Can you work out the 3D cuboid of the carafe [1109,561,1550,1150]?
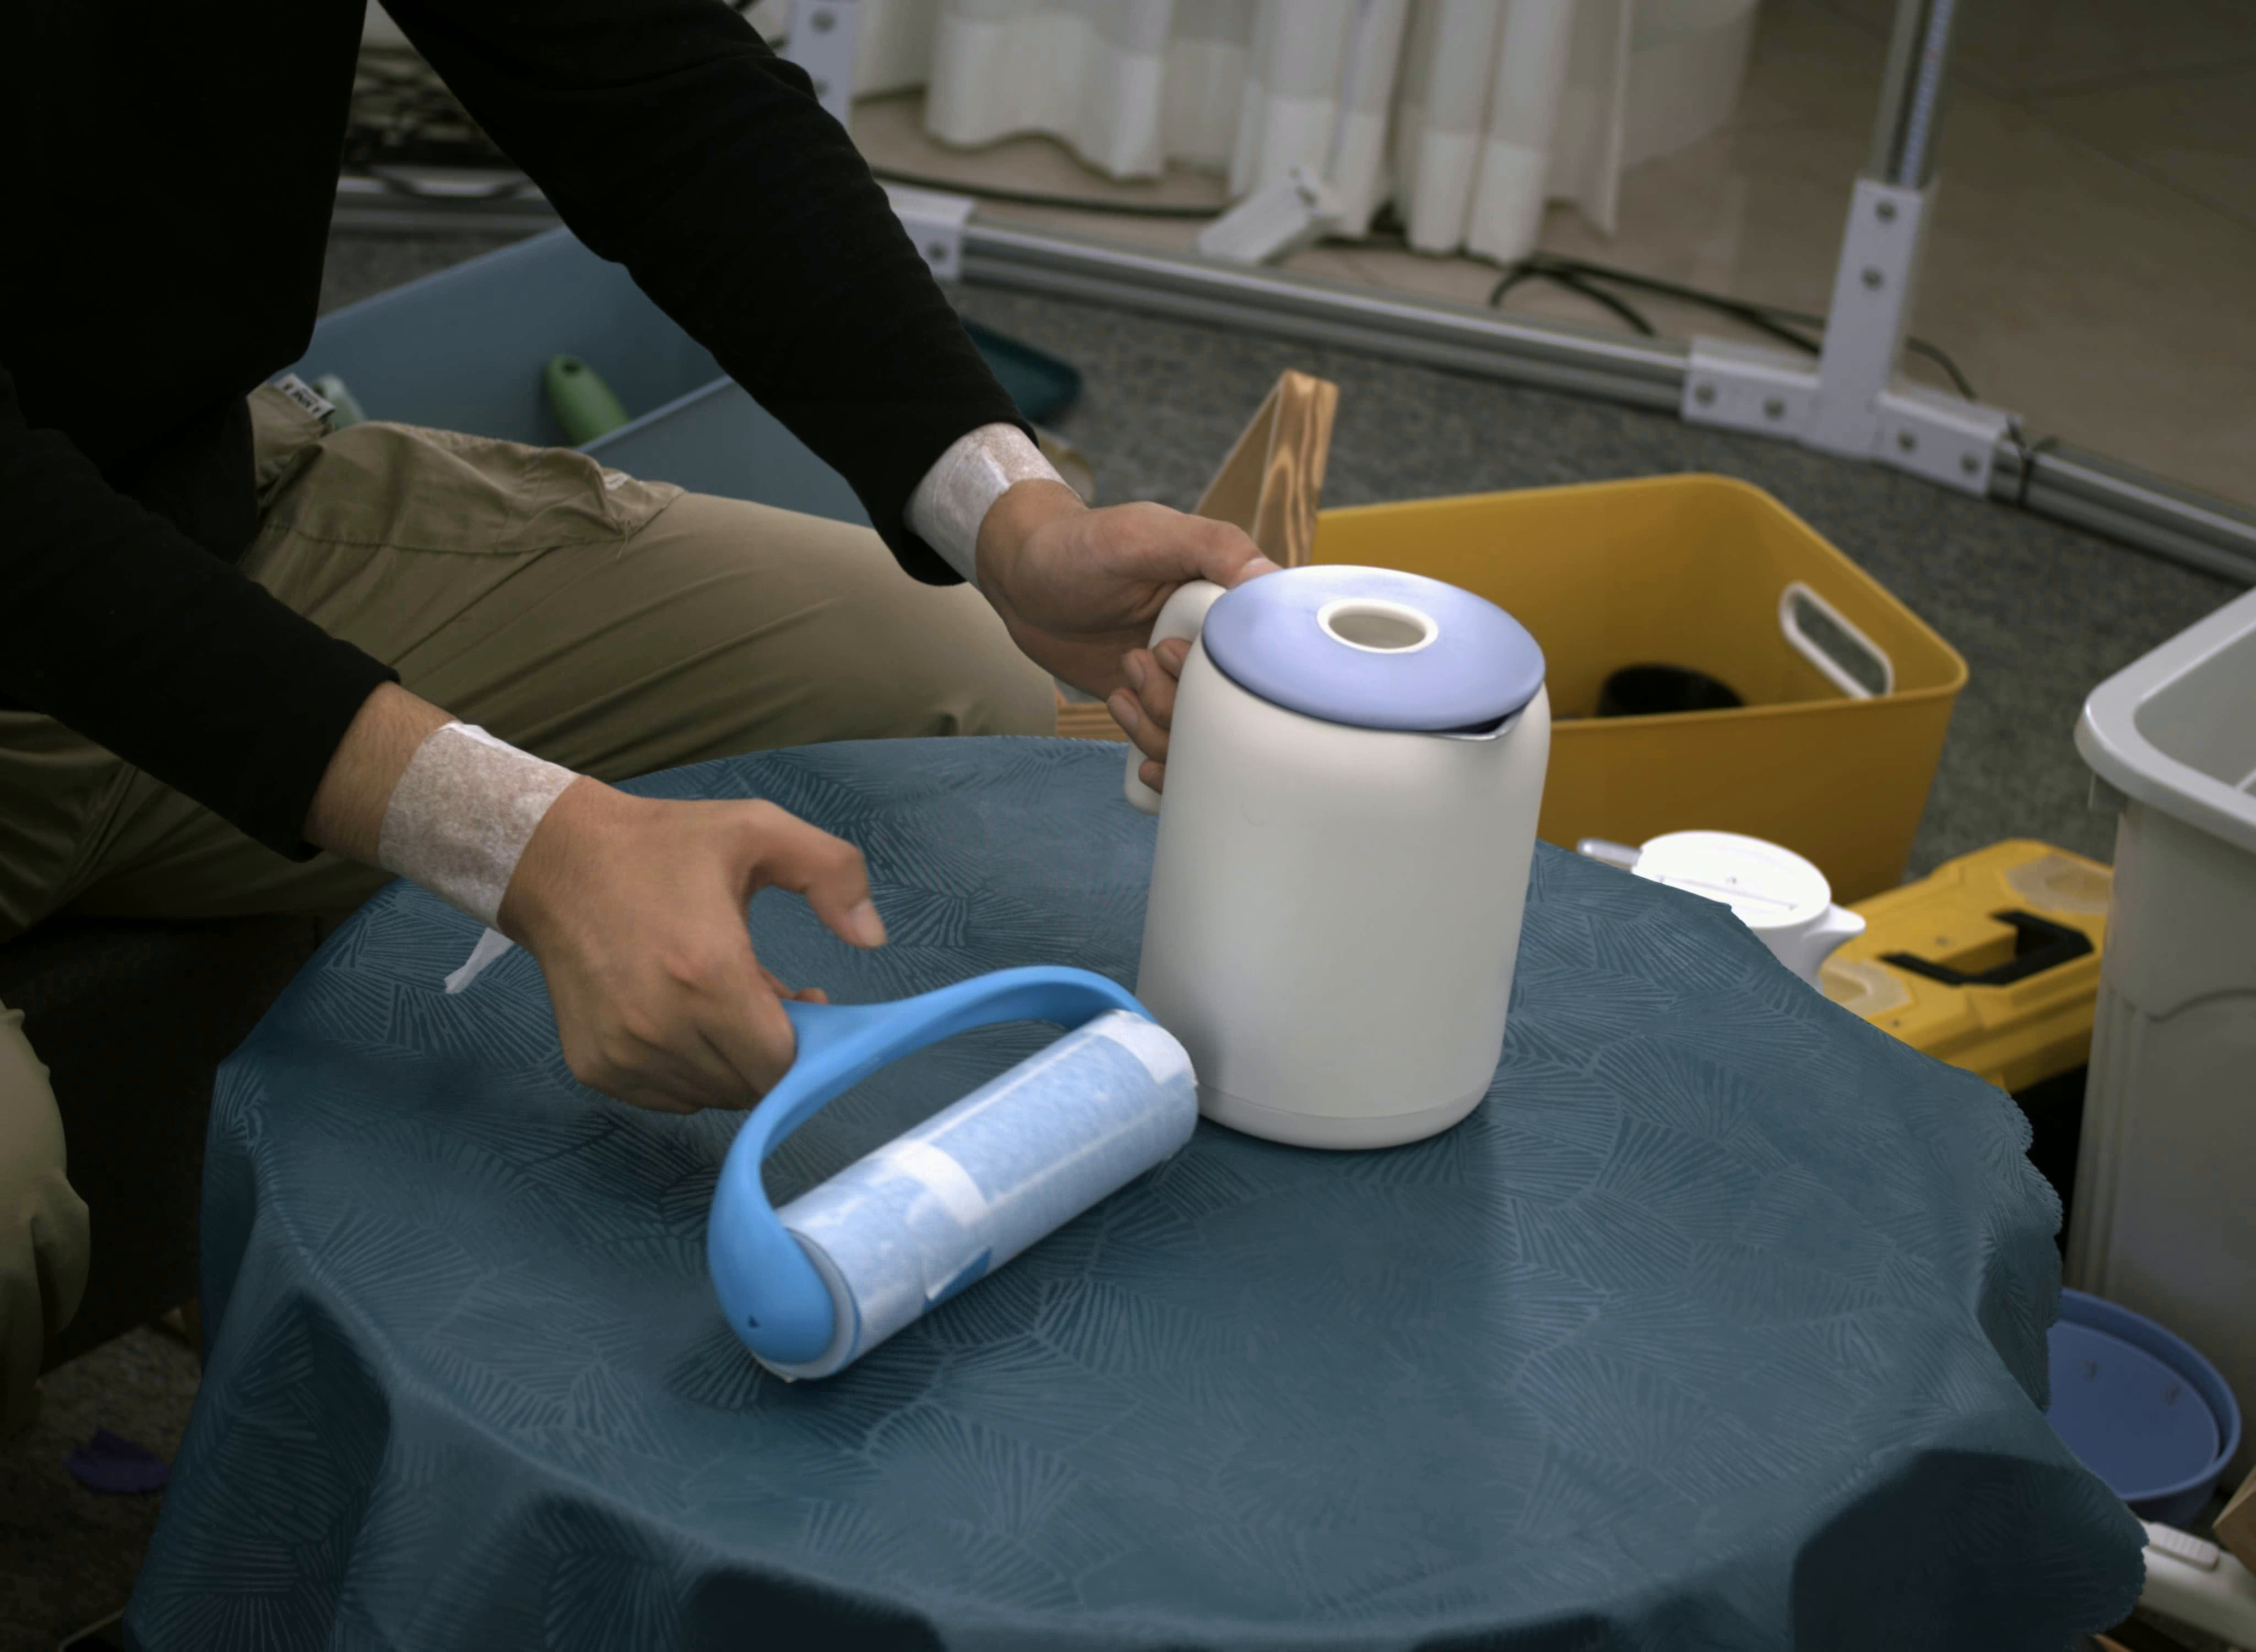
[{"bbox_3d":[0.060,0.000,1.869,0.131,0.182,0.193,-13,31,-36],"label":"carafe"}]

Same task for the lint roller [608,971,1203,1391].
[{"bbox_3d":[-0.098,0.092,1.759,0.181,0.068,0.228,30,37,22],"label":"lint roller"}]
